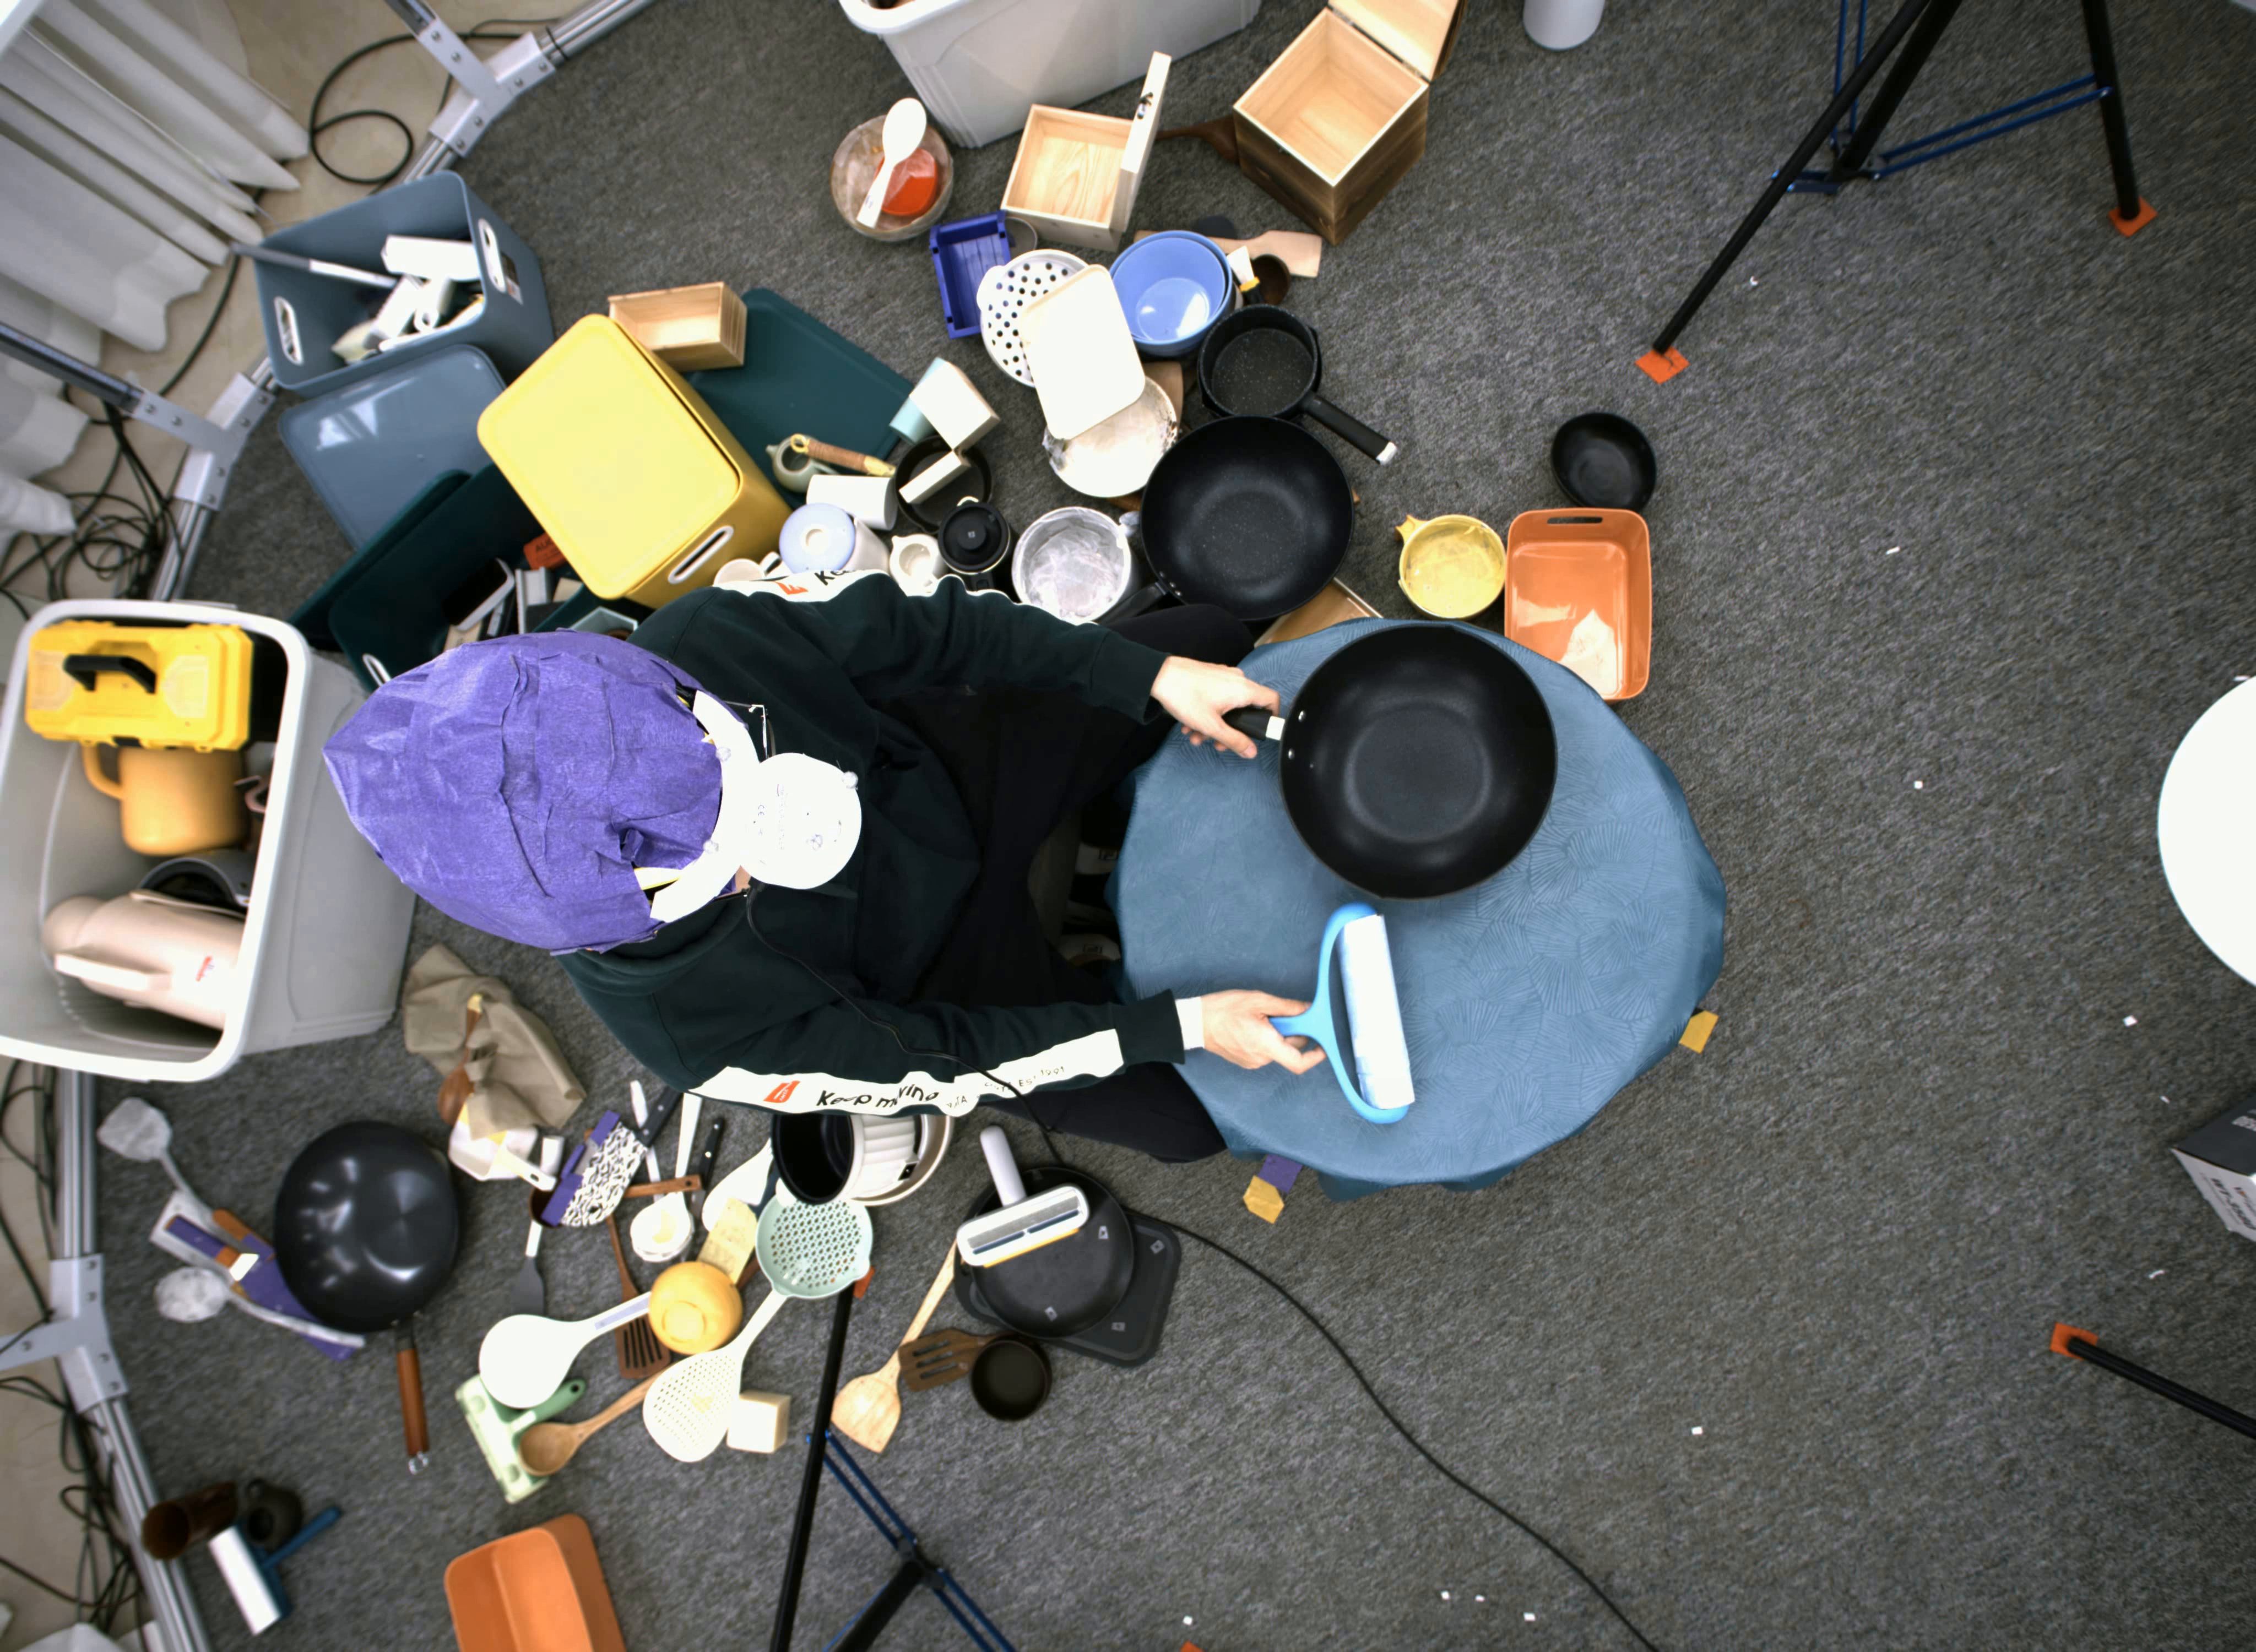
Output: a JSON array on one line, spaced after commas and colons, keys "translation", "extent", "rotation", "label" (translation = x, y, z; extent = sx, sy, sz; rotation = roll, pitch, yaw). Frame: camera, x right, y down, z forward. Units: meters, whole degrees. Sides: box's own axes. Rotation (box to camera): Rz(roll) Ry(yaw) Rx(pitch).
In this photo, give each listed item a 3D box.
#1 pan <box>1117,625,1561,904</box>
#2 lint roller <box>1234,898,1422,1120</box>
[{"translation": [0.212, -0.085, 1.434], "extent": [0.464, 0.087, 0.288], "rotation": [16, 90, 15], "label": "pan"}, {"translation": [0.198, 0.200, 1.424], "extent": [0.181, 0.068, 0.228], "rotation": [-13, 90, 6], "label": "lint roller"}]
